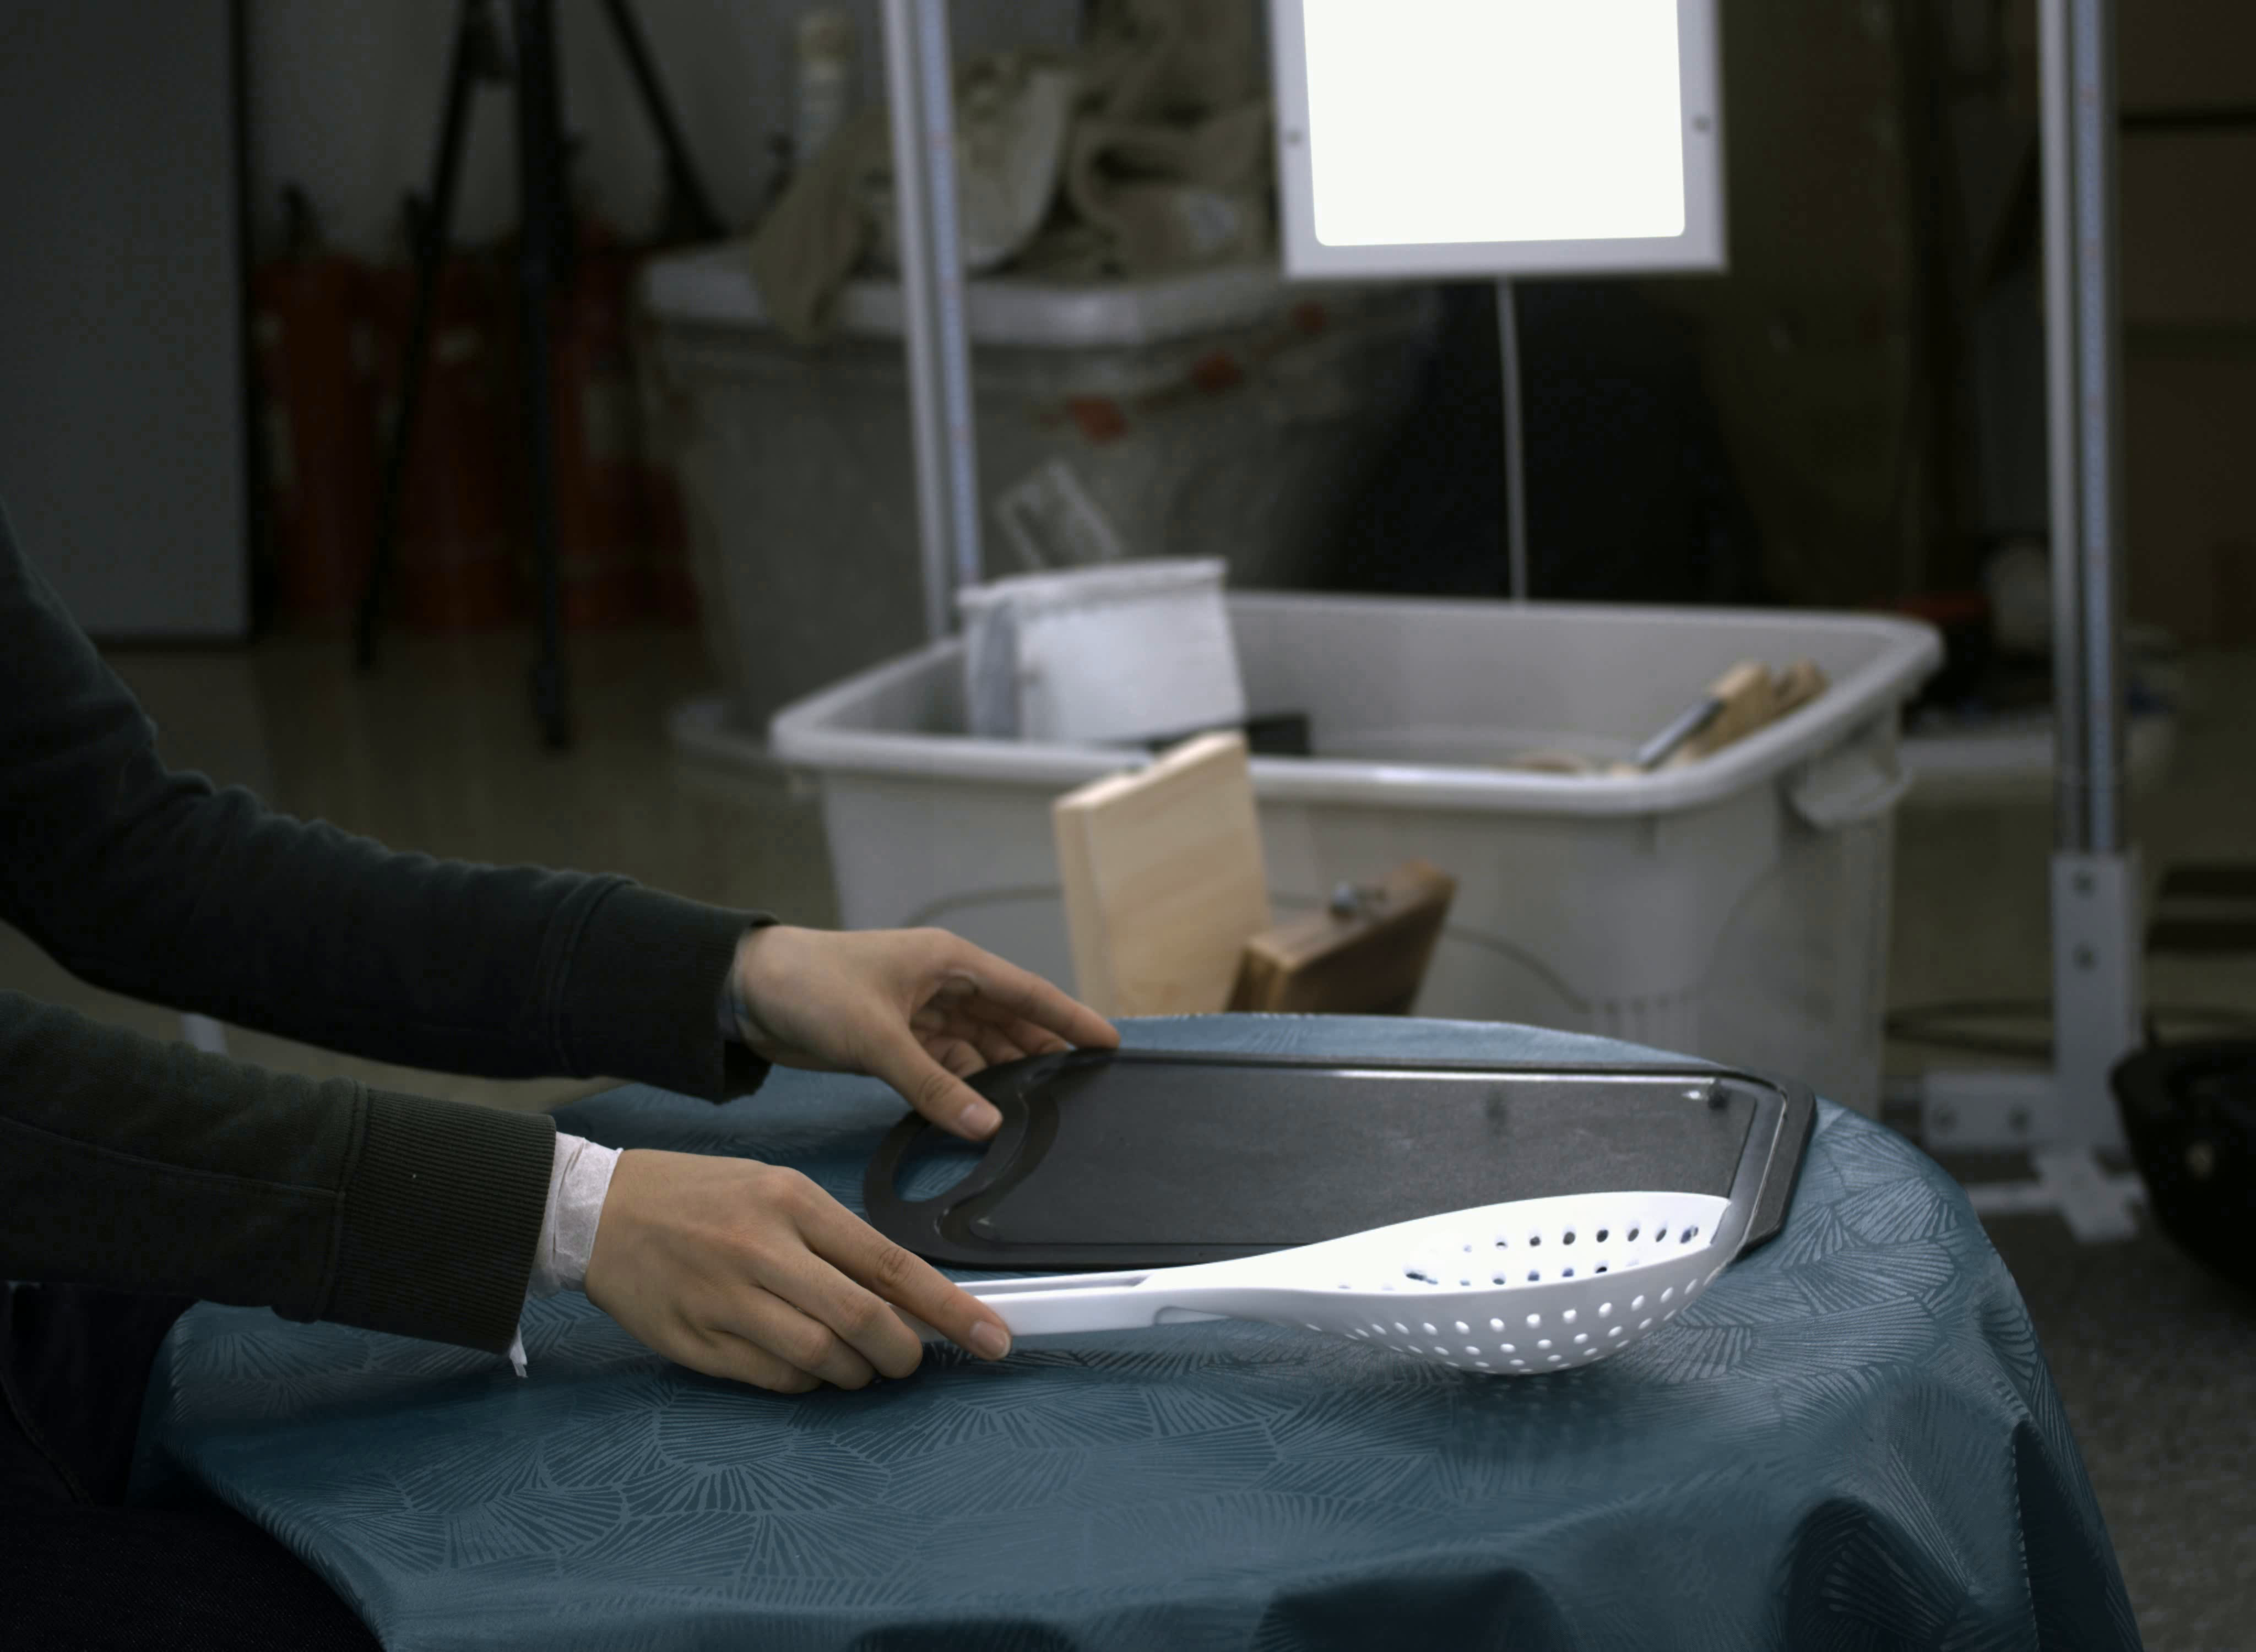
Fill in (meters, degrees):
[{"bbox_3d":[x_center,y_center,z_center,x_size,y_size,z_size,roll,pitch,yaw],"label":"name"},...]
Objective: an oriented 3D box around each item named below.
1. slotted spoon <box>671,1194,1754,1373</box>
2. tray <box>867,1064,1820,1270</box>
[{"bbox_3d":[0.023,0.145,1.717,0.354,0.046,0.134,-1,7,18],"label":"slotted spoon"},{"bbox_3d":[0.072,0.114,1.897,0.328,0.010,0.208,-1,15,15],"label":"tray"}]
